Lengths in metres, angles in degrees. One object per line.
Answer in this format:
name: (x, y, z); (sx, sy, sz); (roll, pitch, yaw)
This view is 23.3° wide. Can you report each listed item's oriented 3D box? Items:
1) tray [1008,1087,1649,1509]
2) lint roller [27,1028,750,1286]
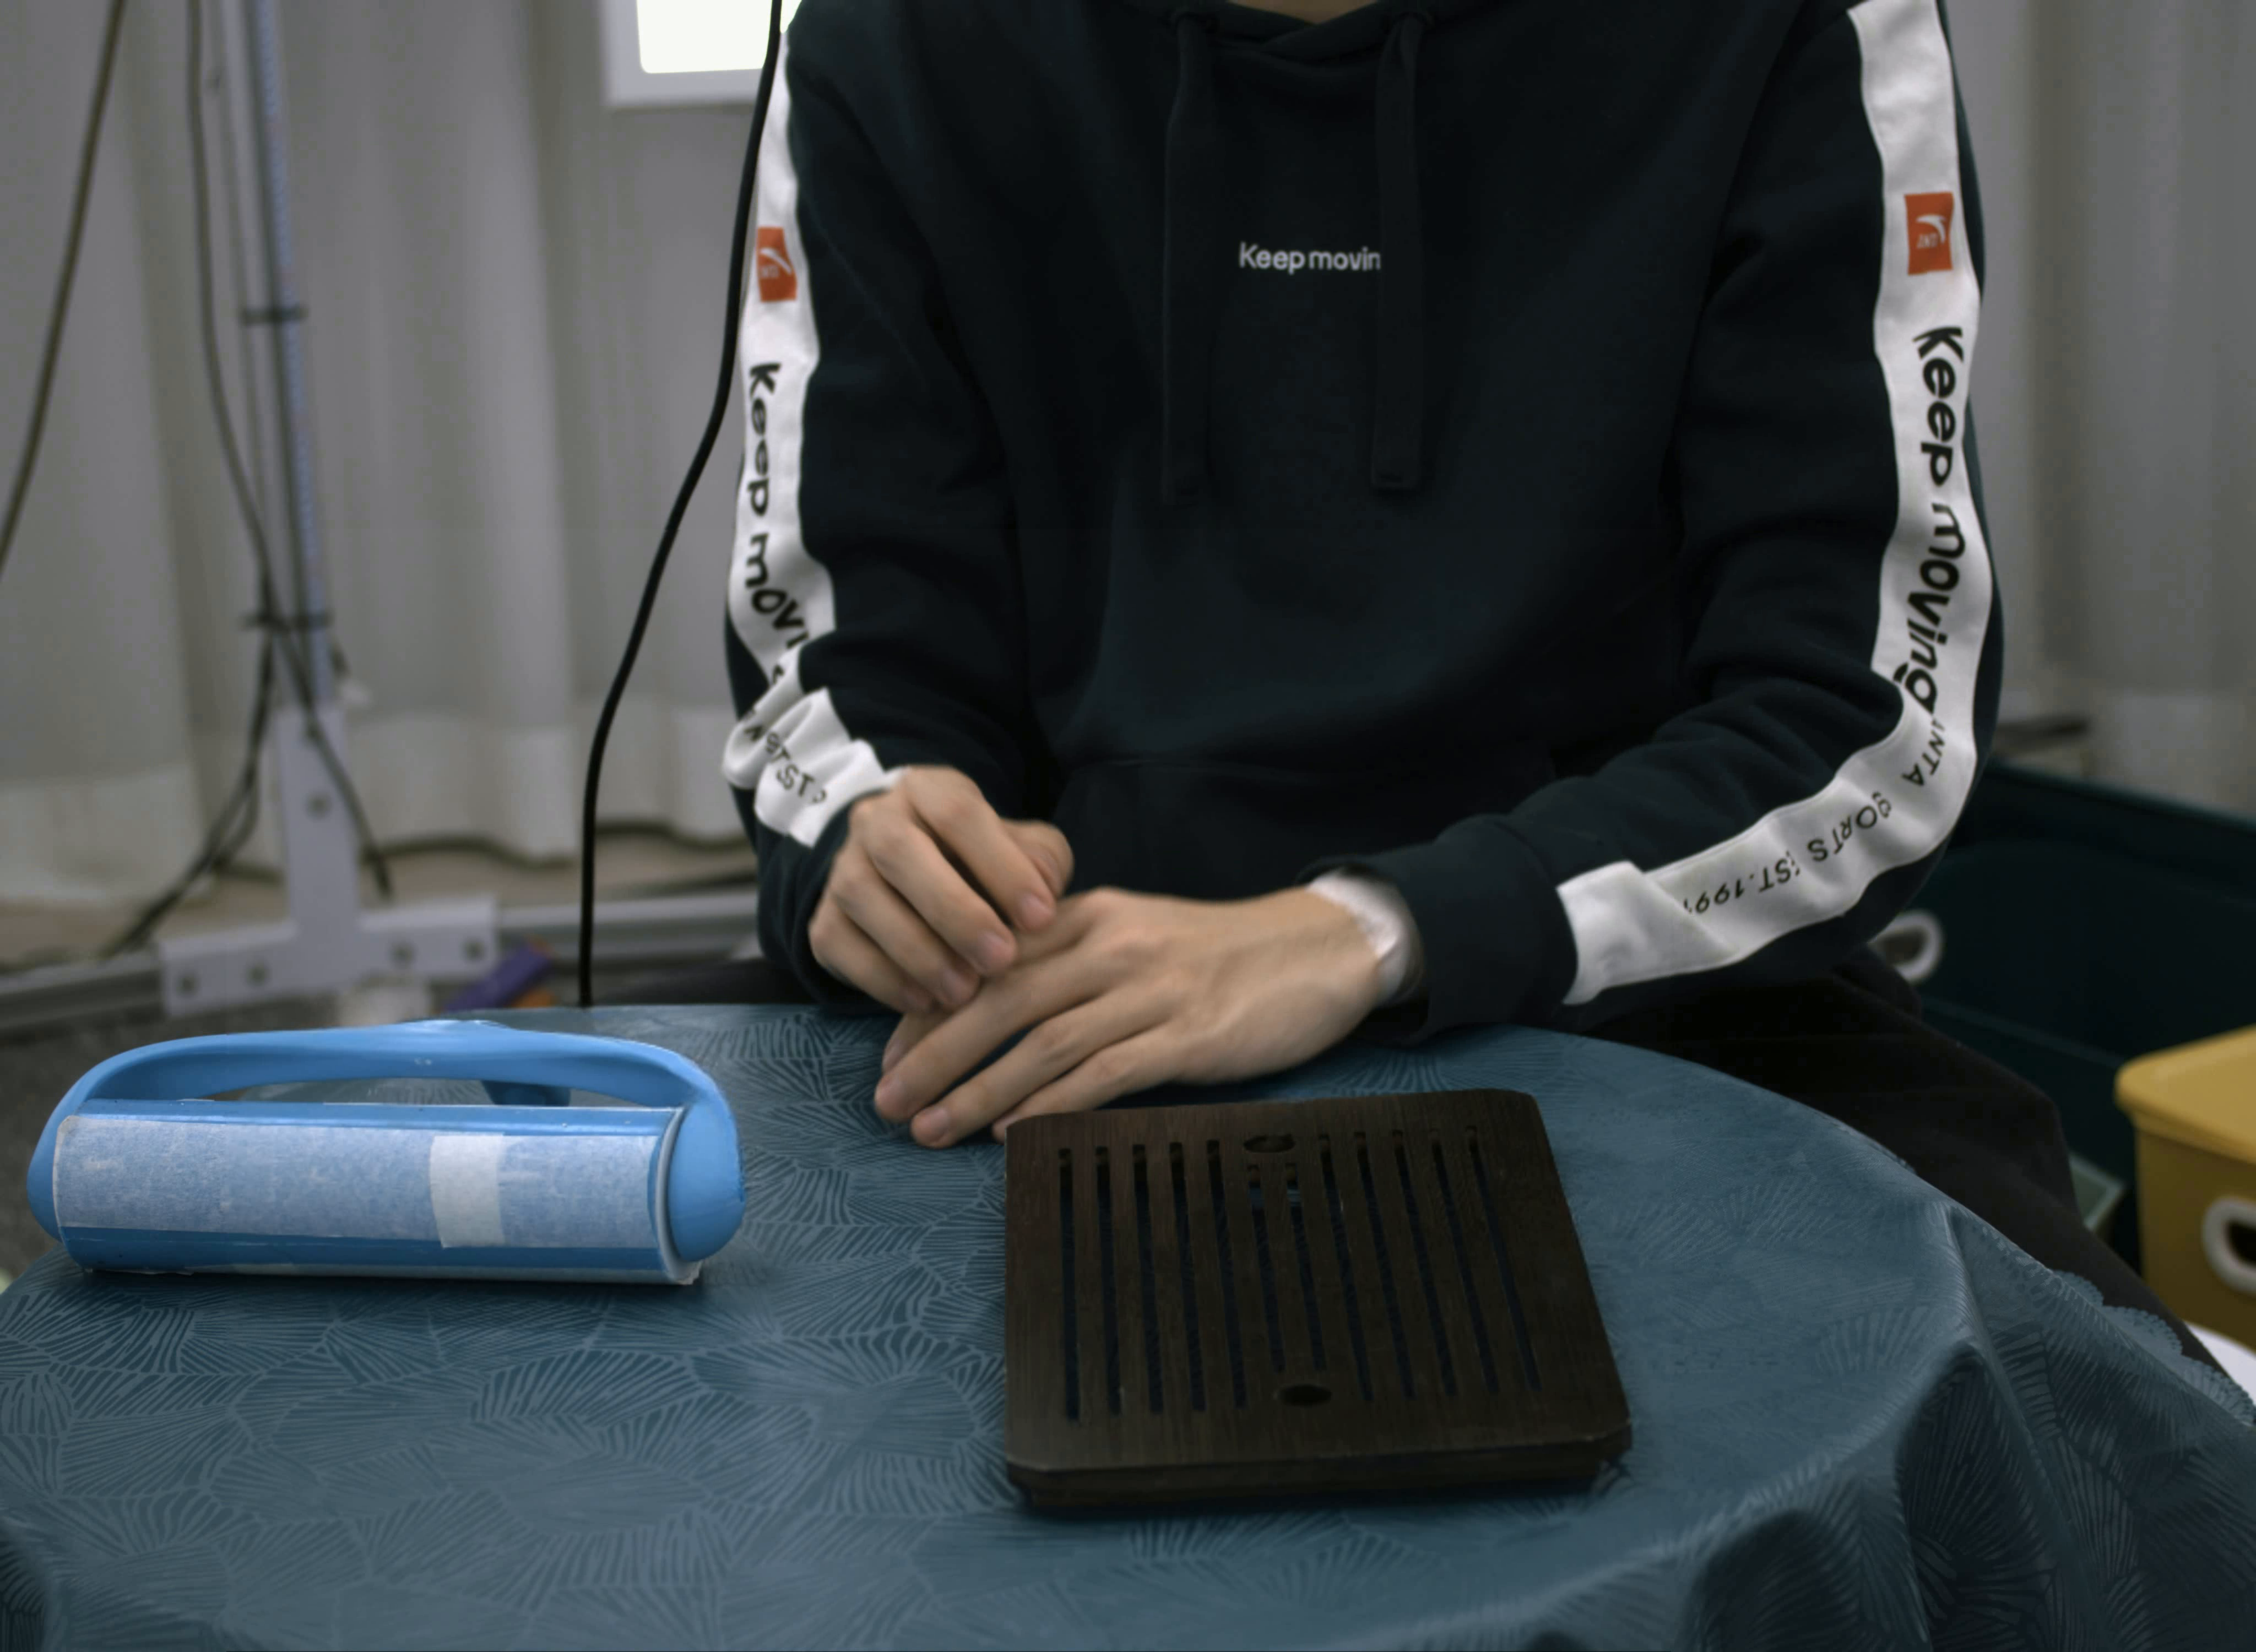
tray: (0.051, 0.135, 1.594); (0.169, 0.018, 0.308); (-3, 15, -1)
lint roller: (-0.217, 0.094, 1.724); (0.228, 0.067, 0.181); (-2, 16, 10)
